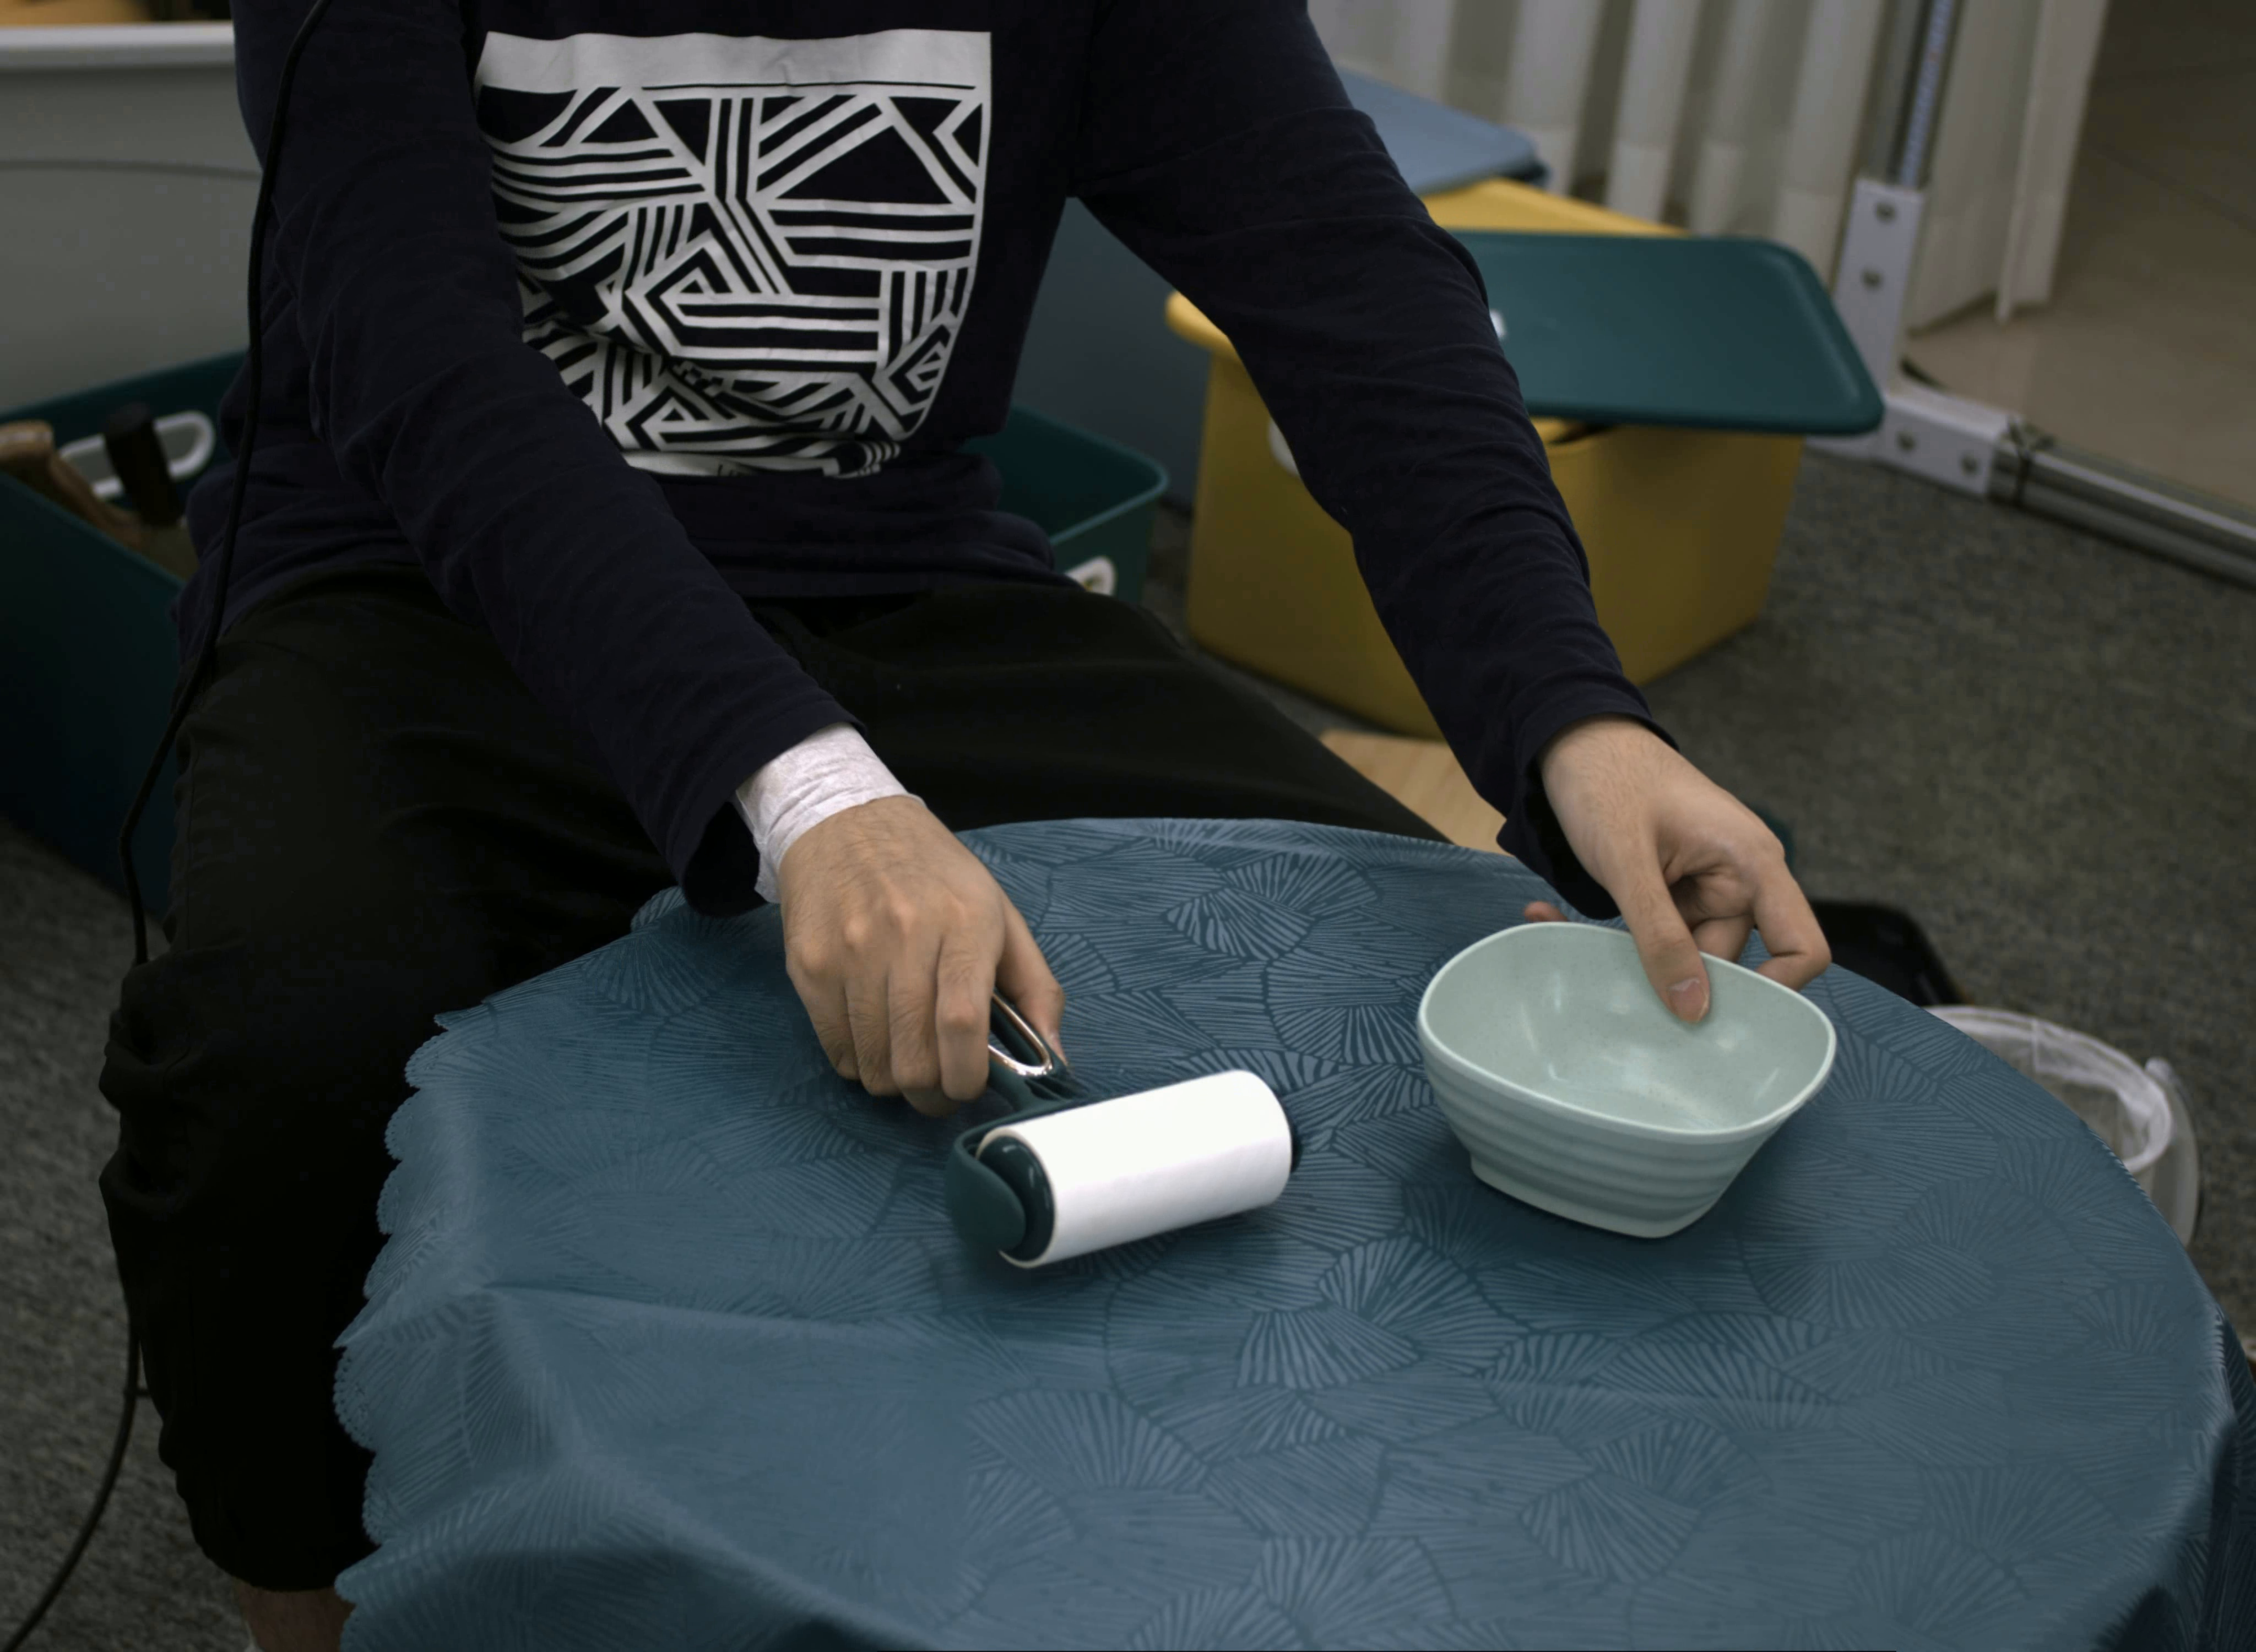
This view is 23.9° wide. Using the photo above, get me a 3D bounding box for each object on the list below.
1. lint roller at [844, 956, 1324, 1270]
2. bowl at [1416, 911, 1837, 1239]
[{"bbox_3d":[-0.038,0.078,1.807,0.133,0.048,0.182,-12,40,-36],"label":"lint roller"},{"bbox_3d":[0.168,0.092,1.841,0.151,0.058,0.152,7,28,-4],"label":"bowl"}]
